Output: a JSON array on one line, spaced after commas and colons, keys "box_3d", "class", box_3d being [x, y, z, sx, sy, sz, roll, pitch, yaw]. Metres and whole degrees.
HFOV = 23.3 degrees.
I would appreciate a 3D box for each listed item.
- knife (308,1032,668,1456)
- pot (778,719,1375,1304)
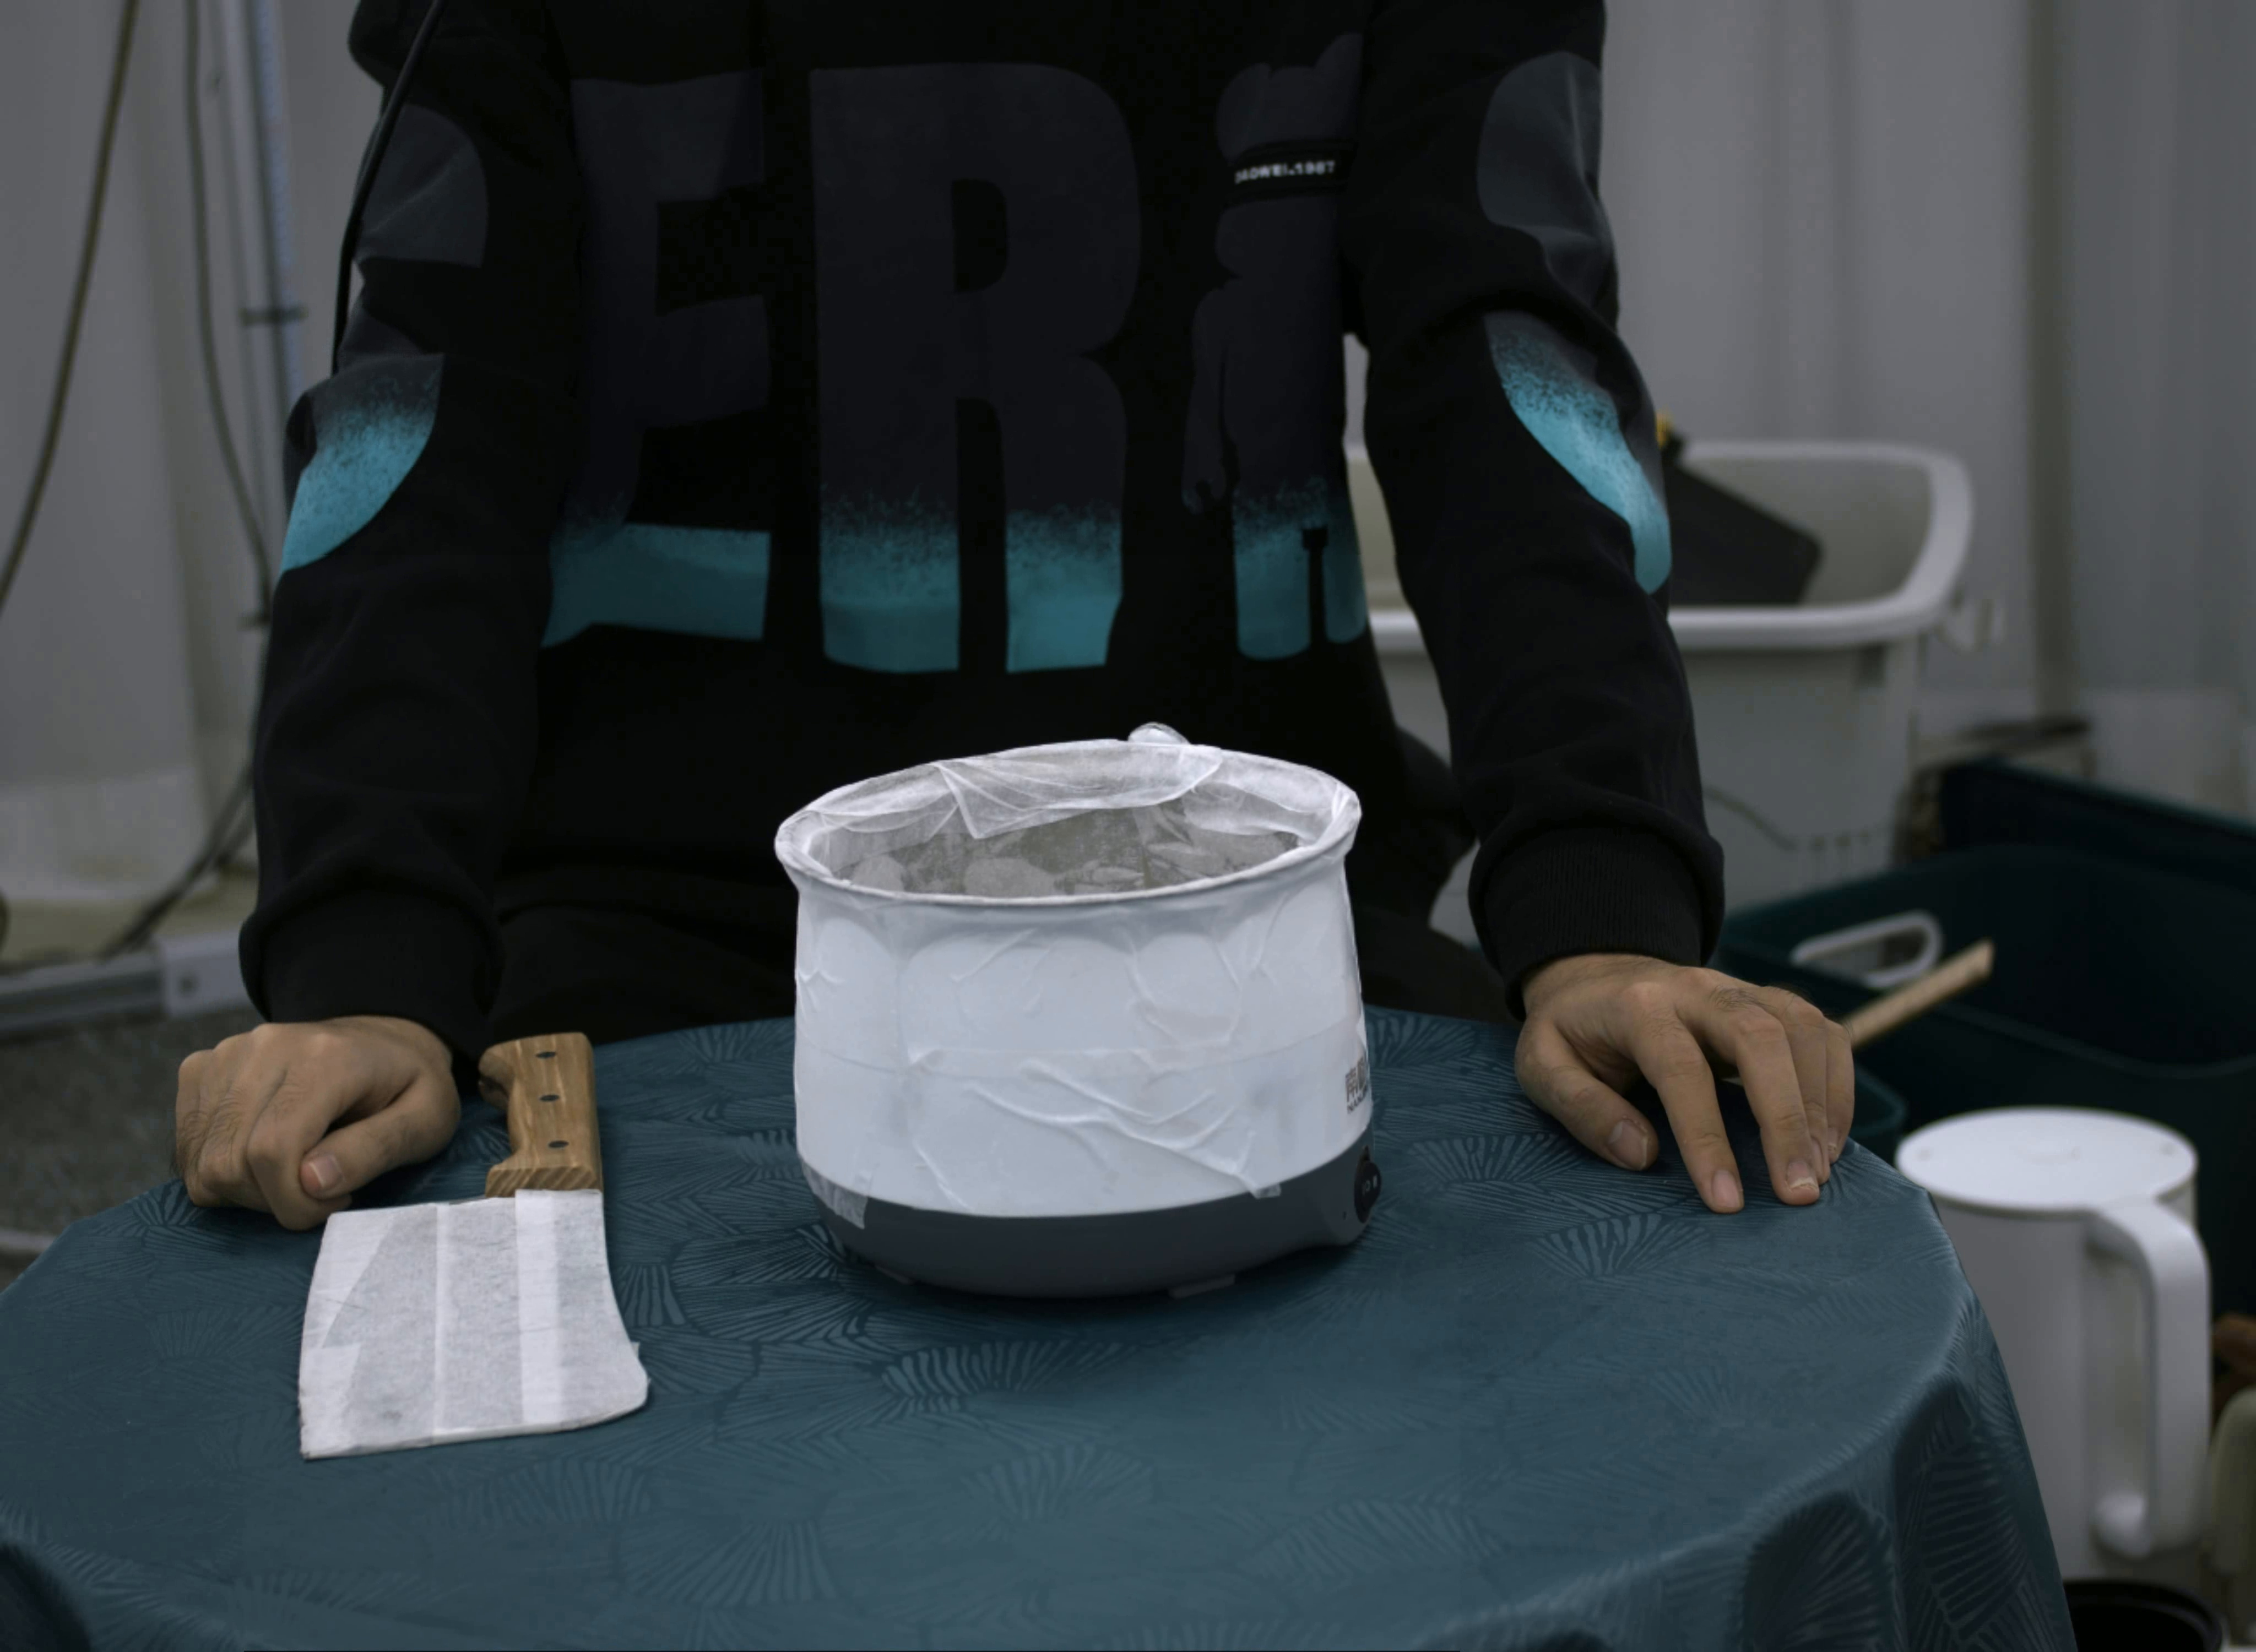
[{"box_3d": [-0.194, 0.126, 1.677, 0.113, 0.021, 0.318, -4, 18, -2], "class": "knife"}, {"box_3d": [-0.008, 0.052, 1.689, 0.178, 0.136, 0.235, 1, 16, 14], "class": "pot"}]
